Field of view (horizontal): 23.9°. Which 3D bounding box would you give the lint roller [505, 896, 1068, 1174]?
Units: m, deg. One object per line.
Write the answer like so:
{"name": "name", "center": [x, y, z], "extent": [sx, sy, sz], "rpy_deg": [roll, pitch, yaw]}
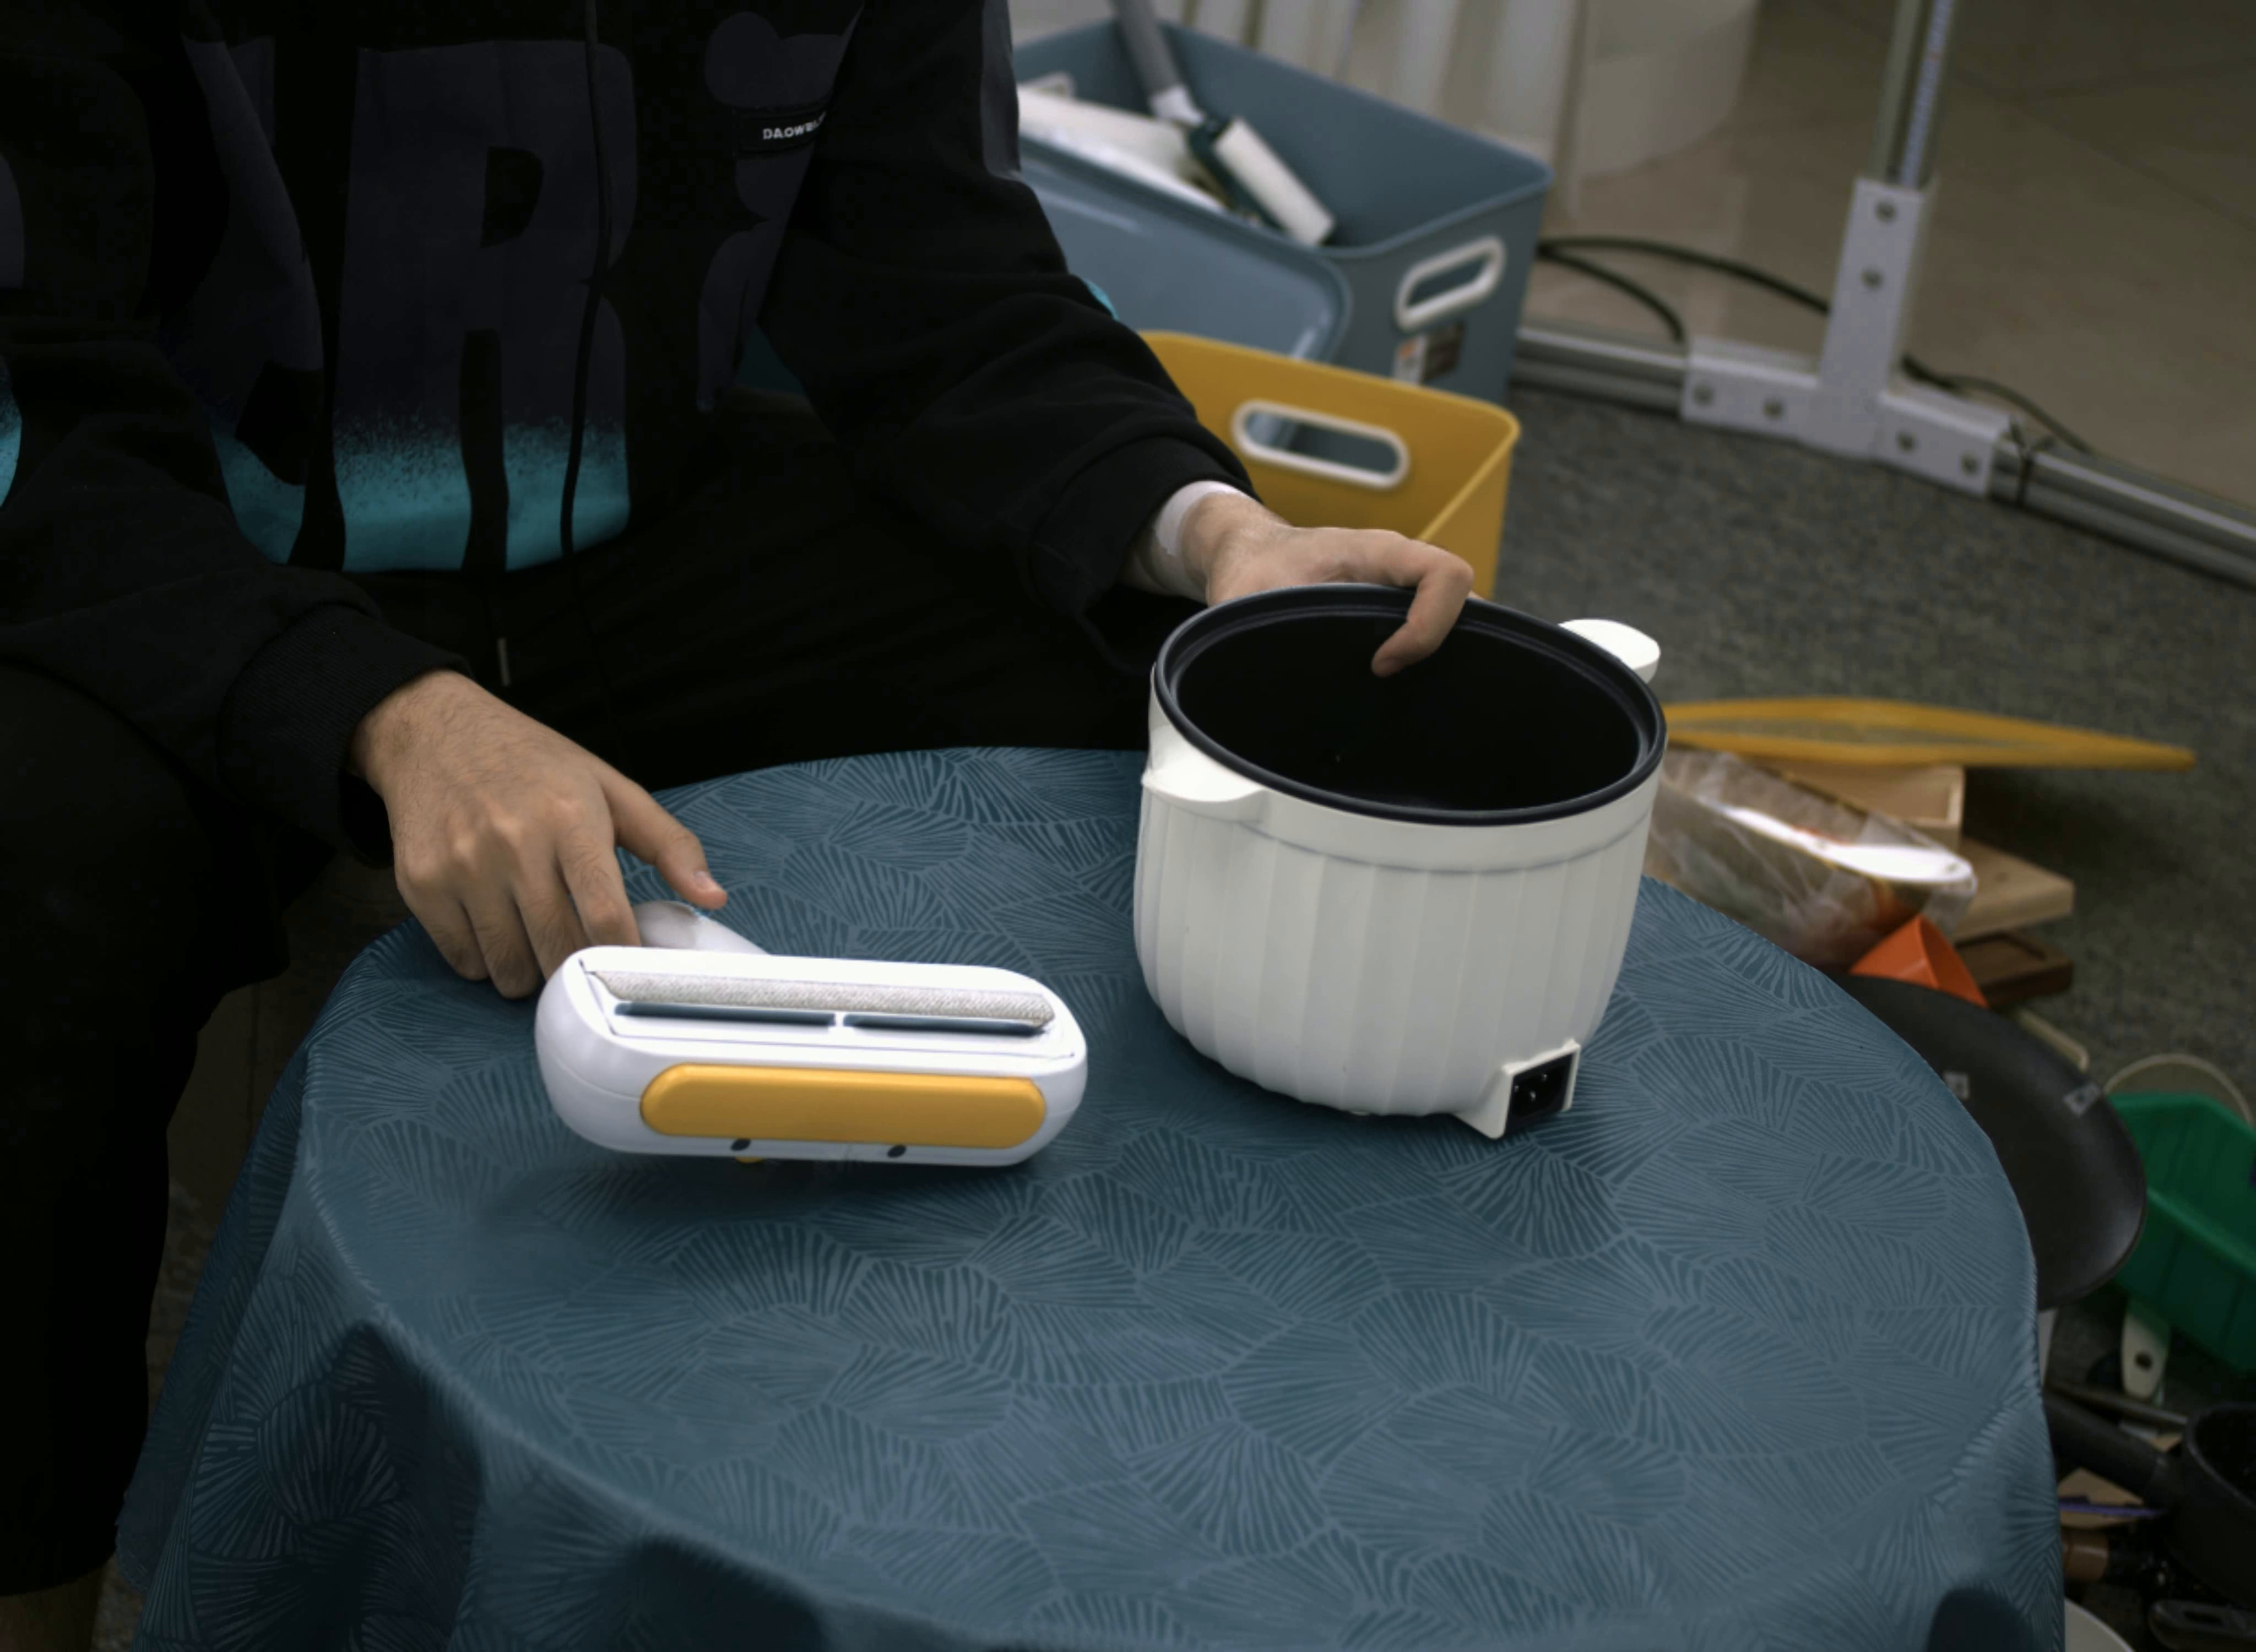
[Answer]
{"name": "lint roller", "center": [-0.133, 0.058, 1.823], "extent": [0.191, 0.074, 0.194], "rpy_deg": [1, 25, -22]}

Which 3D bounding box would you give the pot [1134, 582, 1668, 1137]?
{"name": "pot", "center": [0.087, 0.011, 1.886], "extent": [0.239, 0.142, 0.192], "rpy_deg": [-17, 37, -40]}
